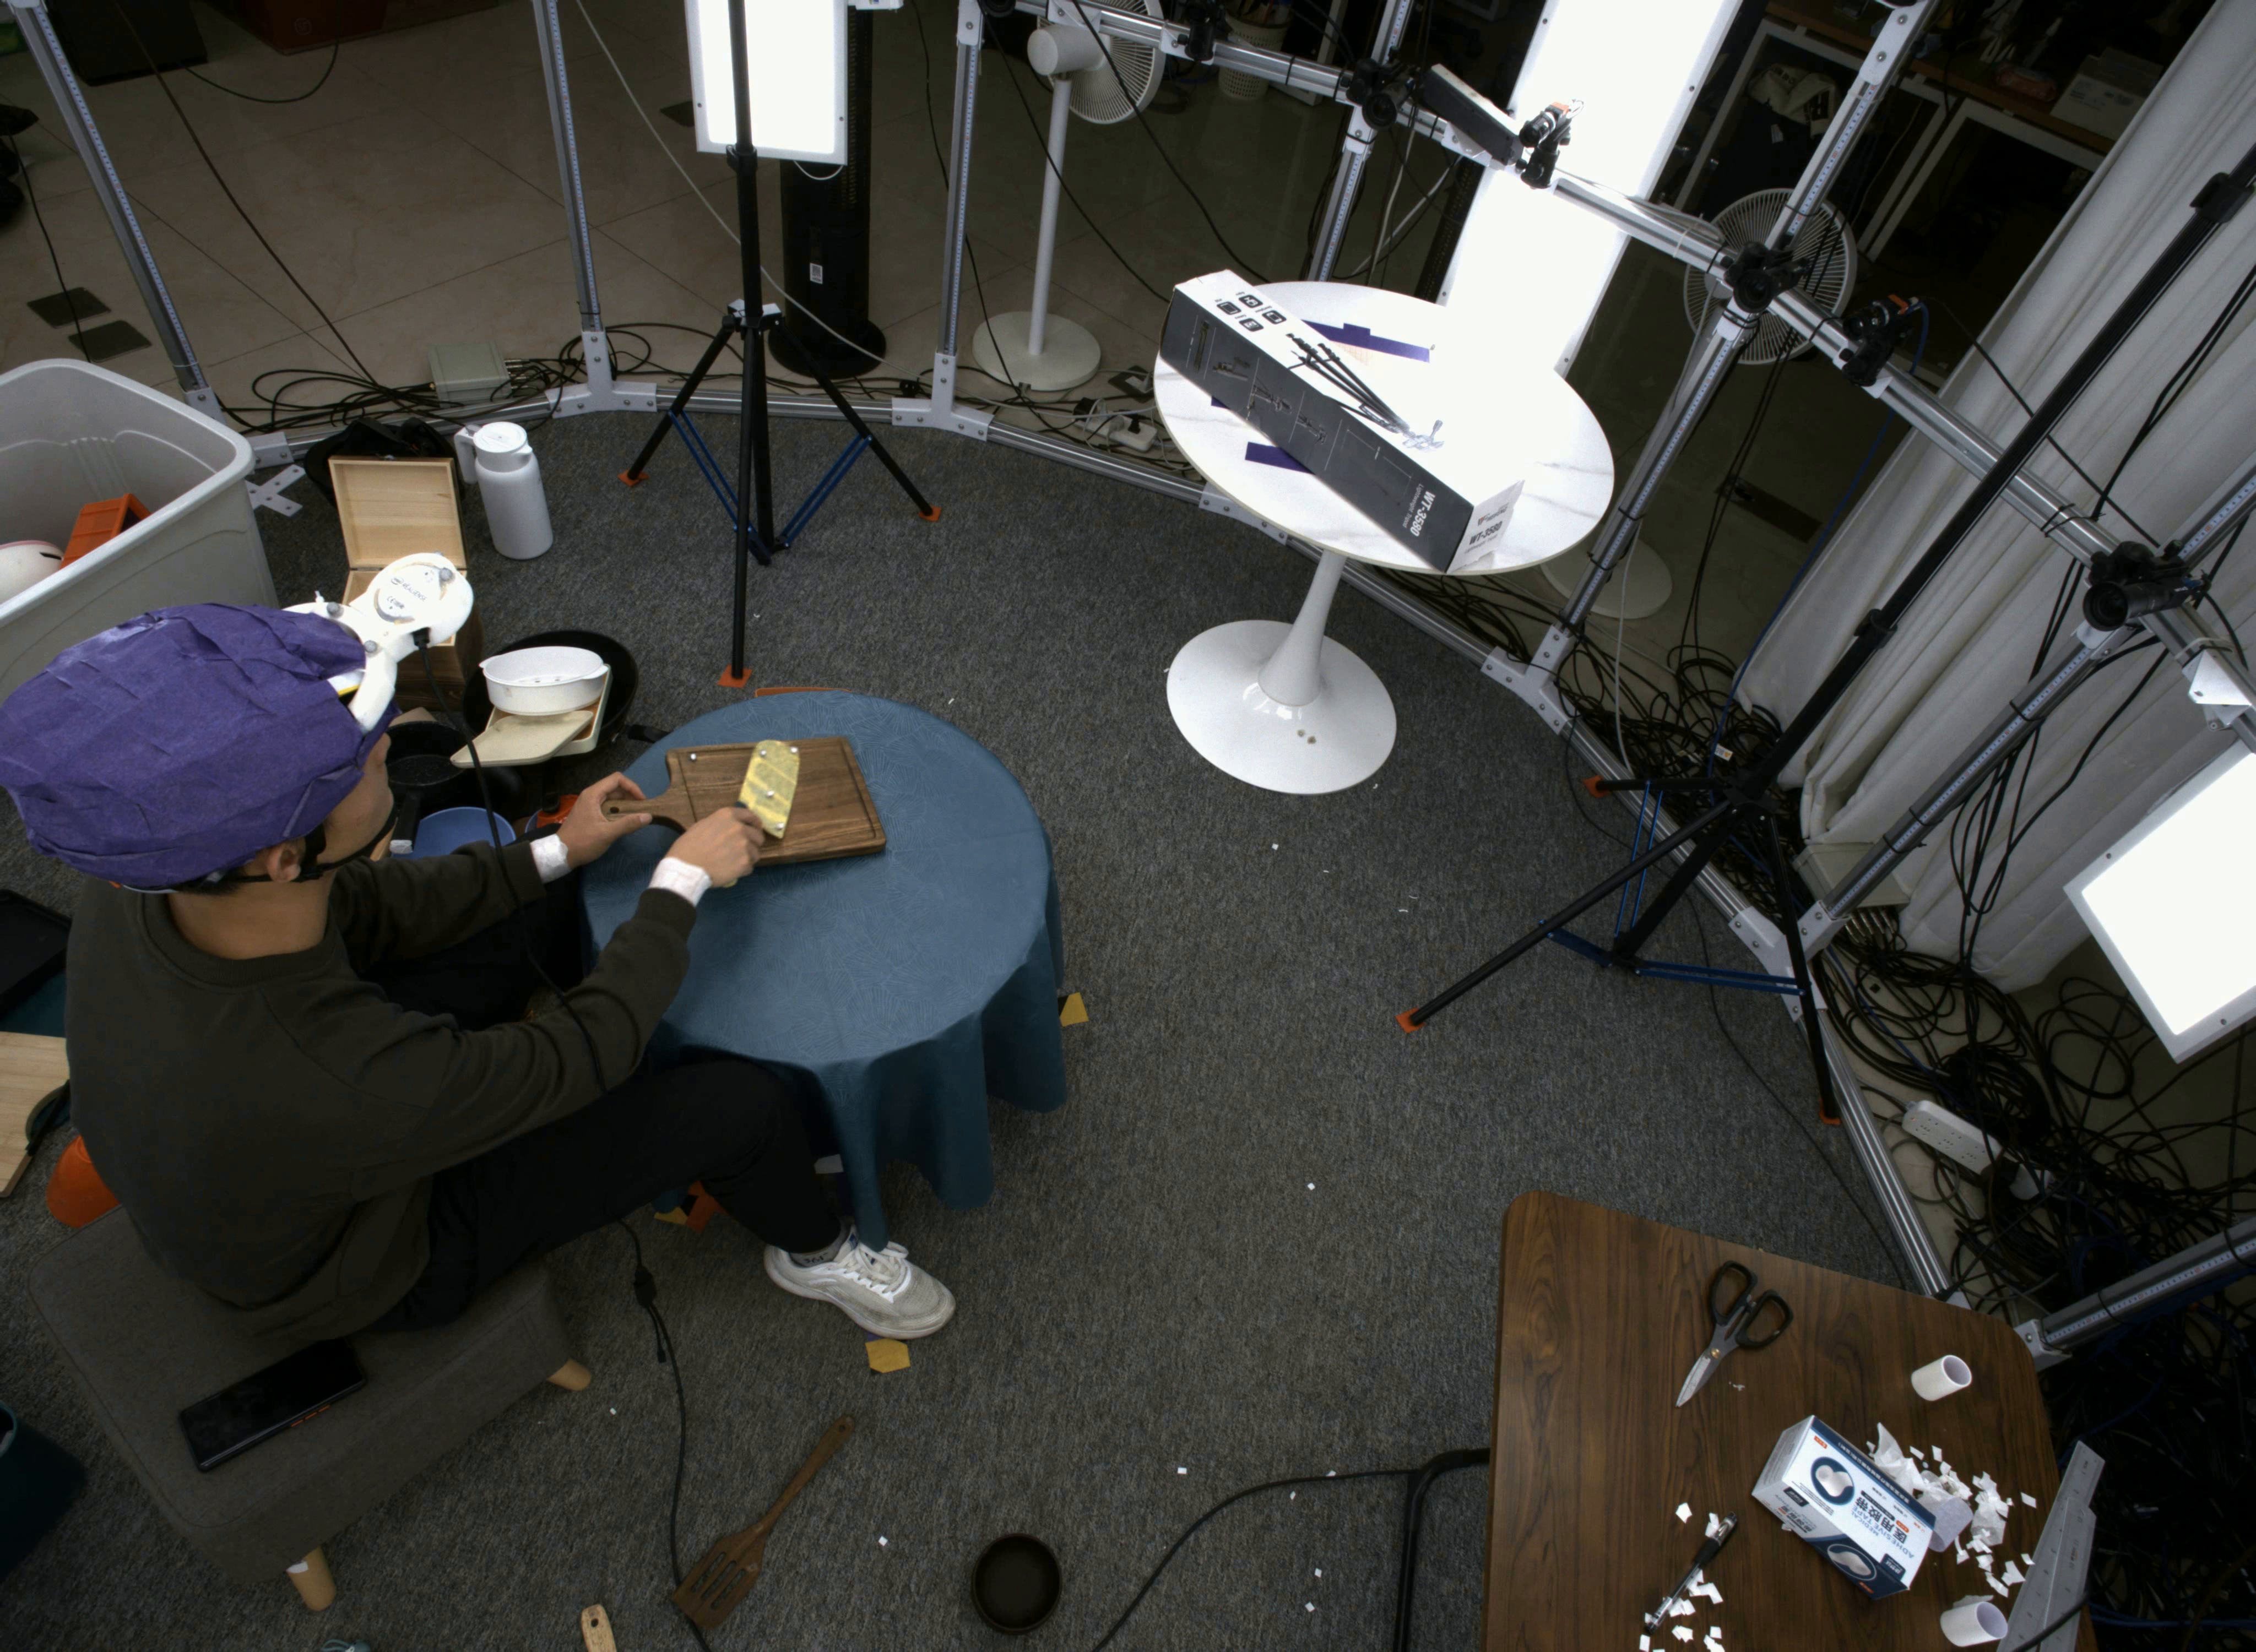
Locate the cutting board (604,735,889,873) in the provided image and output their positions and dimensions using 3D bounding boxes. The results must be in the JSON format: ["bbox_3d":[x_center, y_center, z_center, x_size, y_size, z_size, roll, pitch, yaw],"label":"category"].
[{"bbox_3d":[-0.504,-0.030,1.681,0.356,0.023,0.196,-7,55,-32],"label":"cutting board"}]

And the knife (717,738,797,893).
[{"bbox_3d":[-0.470,-0.018,1.647,0.083,0.027,0.284,39,34,-28],"label":"knife"}]
